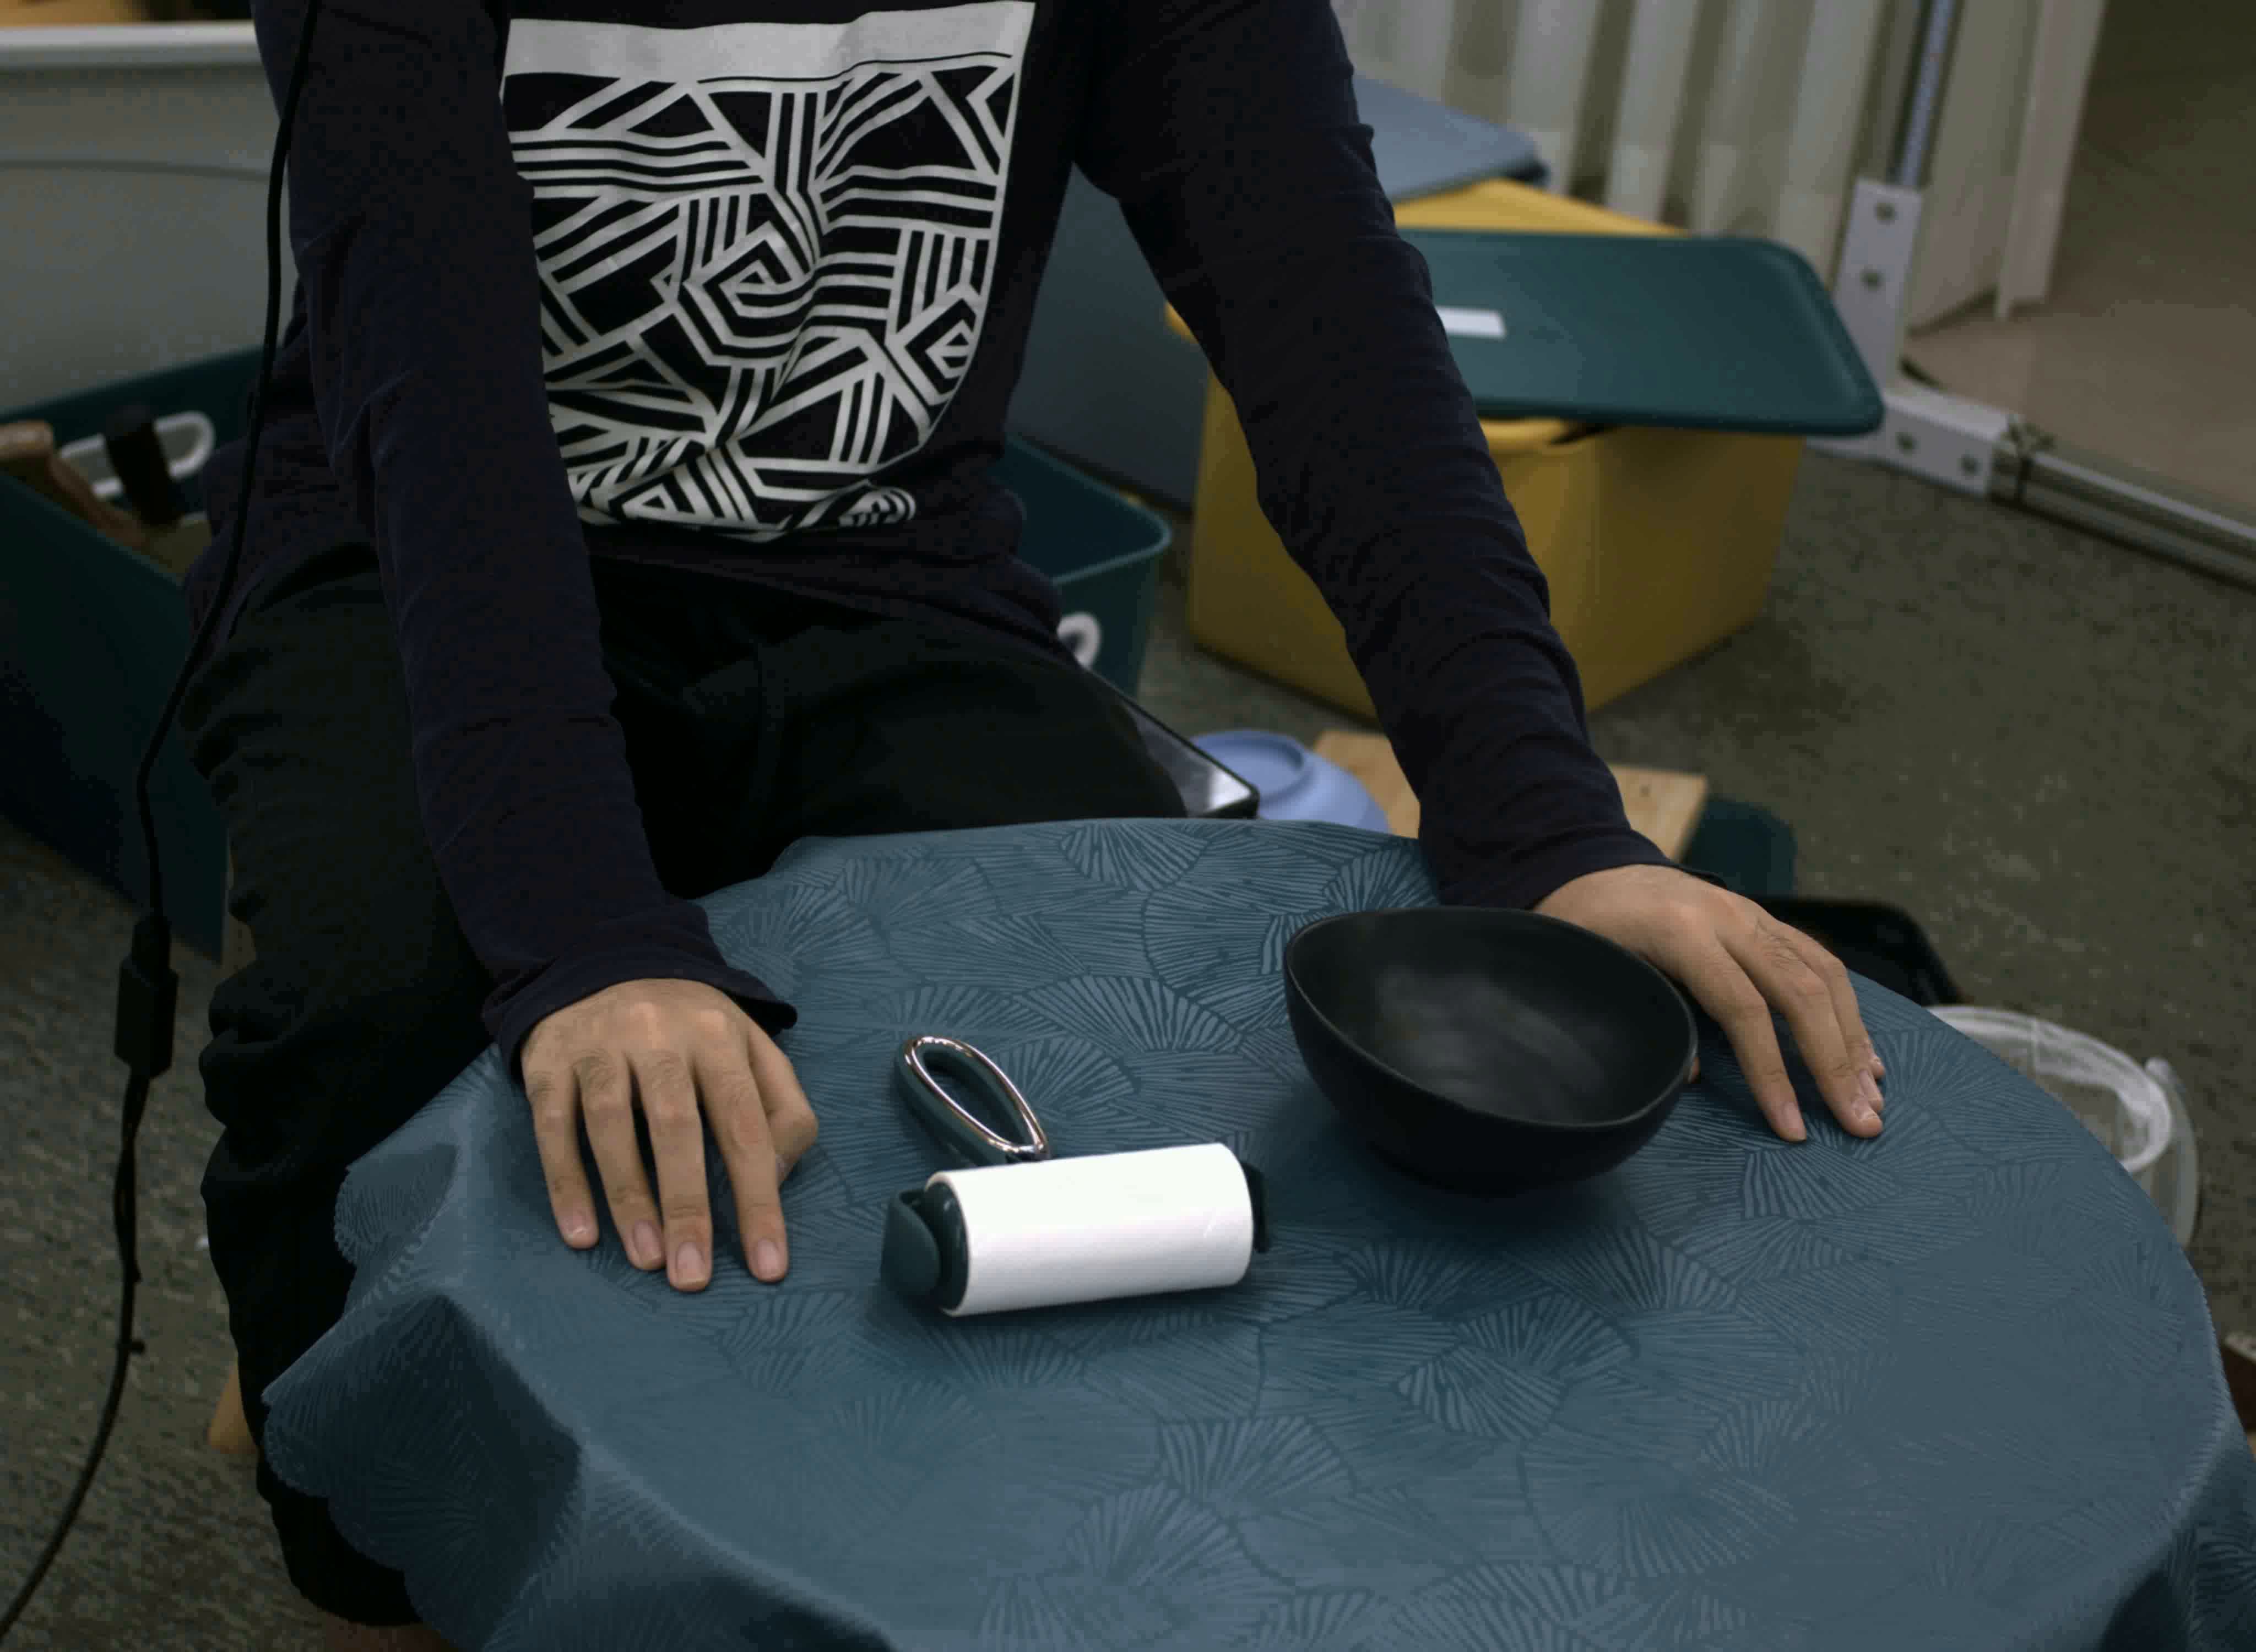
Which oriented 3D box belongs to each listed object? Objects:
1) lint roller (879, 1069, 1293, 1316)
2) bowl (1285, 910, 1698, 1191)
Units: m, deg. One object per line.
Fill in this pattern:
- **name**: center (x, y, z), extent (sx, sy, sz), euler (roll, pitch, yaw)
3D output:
- **lint roller**: center (-0.040, 0.104, 1.791), extent (0.133, 0.048, 0.181), euler (-5, 26, -22)
- **bowl**: center (0.120, 0.083, 1.842), extent (0.136, 0.066, 0.172), euler (-5, 27, -22)
